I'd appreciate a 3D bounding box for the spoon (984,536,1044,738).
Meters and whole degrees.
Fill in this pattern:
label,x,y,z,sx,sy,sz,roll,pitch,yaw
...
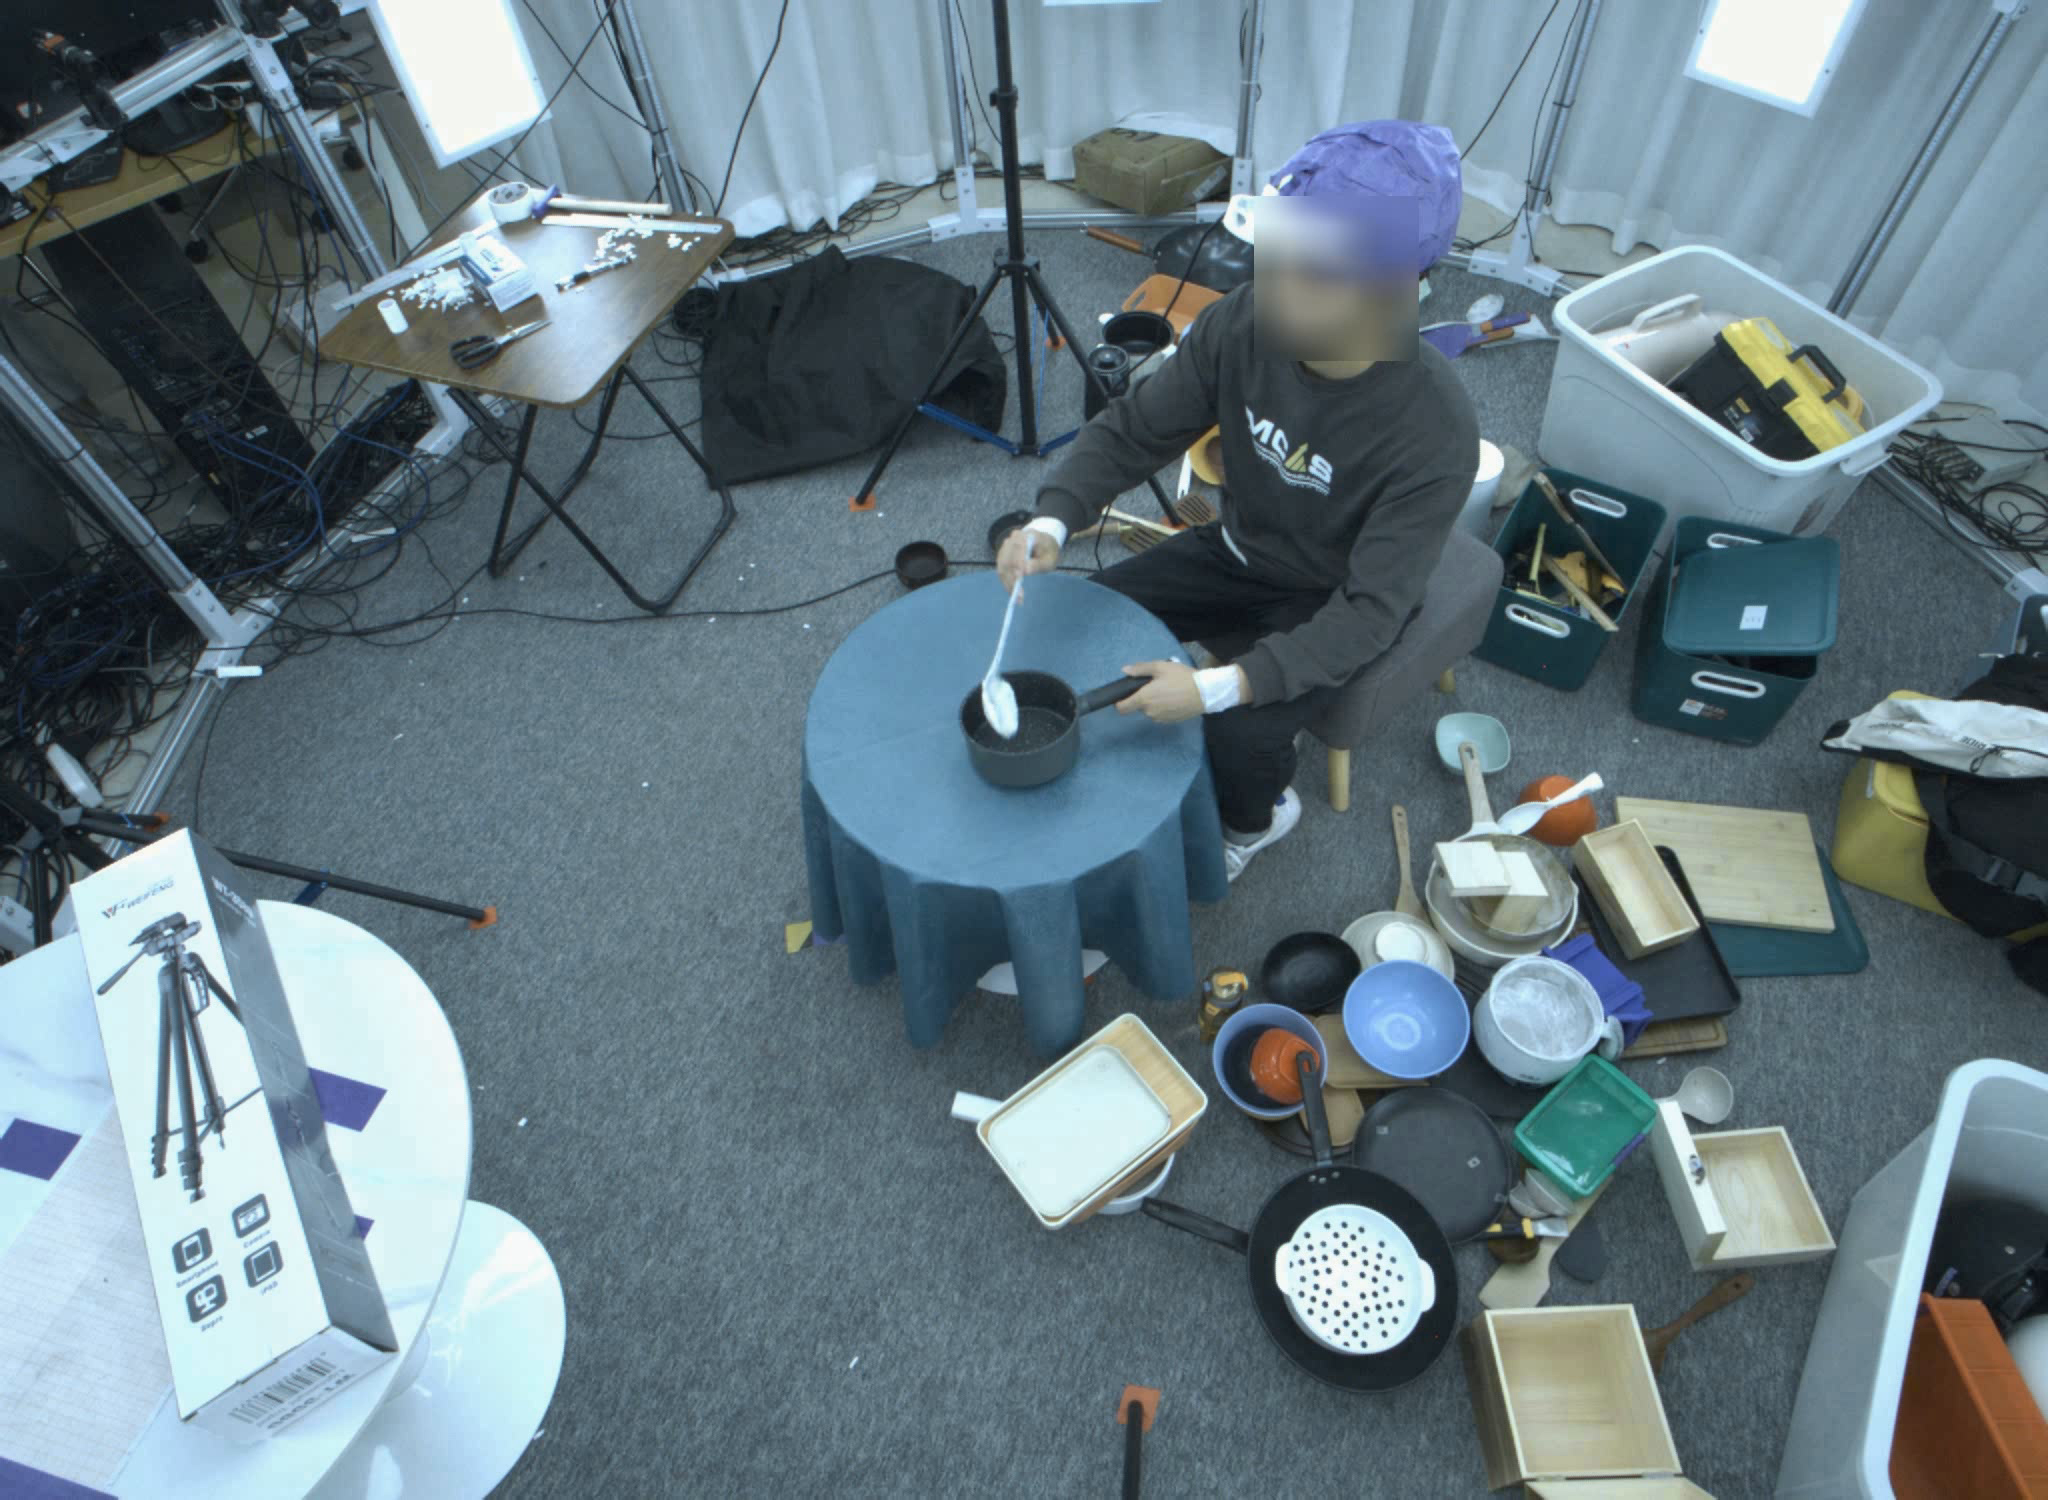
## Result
label,x,y,z,sx,sy,sz,roll,pitch,yaw
spoon,0.002,-0.155,1.698,0.059,0.102,0.277,22,100,15

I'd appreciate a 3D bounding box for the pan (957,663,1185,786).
label,x,y,z,sx,sy,sz,roll,pitch,yaw
pan,0.072,-0.052,1.767,0.330,0.087,0.169,-14,48,-6
